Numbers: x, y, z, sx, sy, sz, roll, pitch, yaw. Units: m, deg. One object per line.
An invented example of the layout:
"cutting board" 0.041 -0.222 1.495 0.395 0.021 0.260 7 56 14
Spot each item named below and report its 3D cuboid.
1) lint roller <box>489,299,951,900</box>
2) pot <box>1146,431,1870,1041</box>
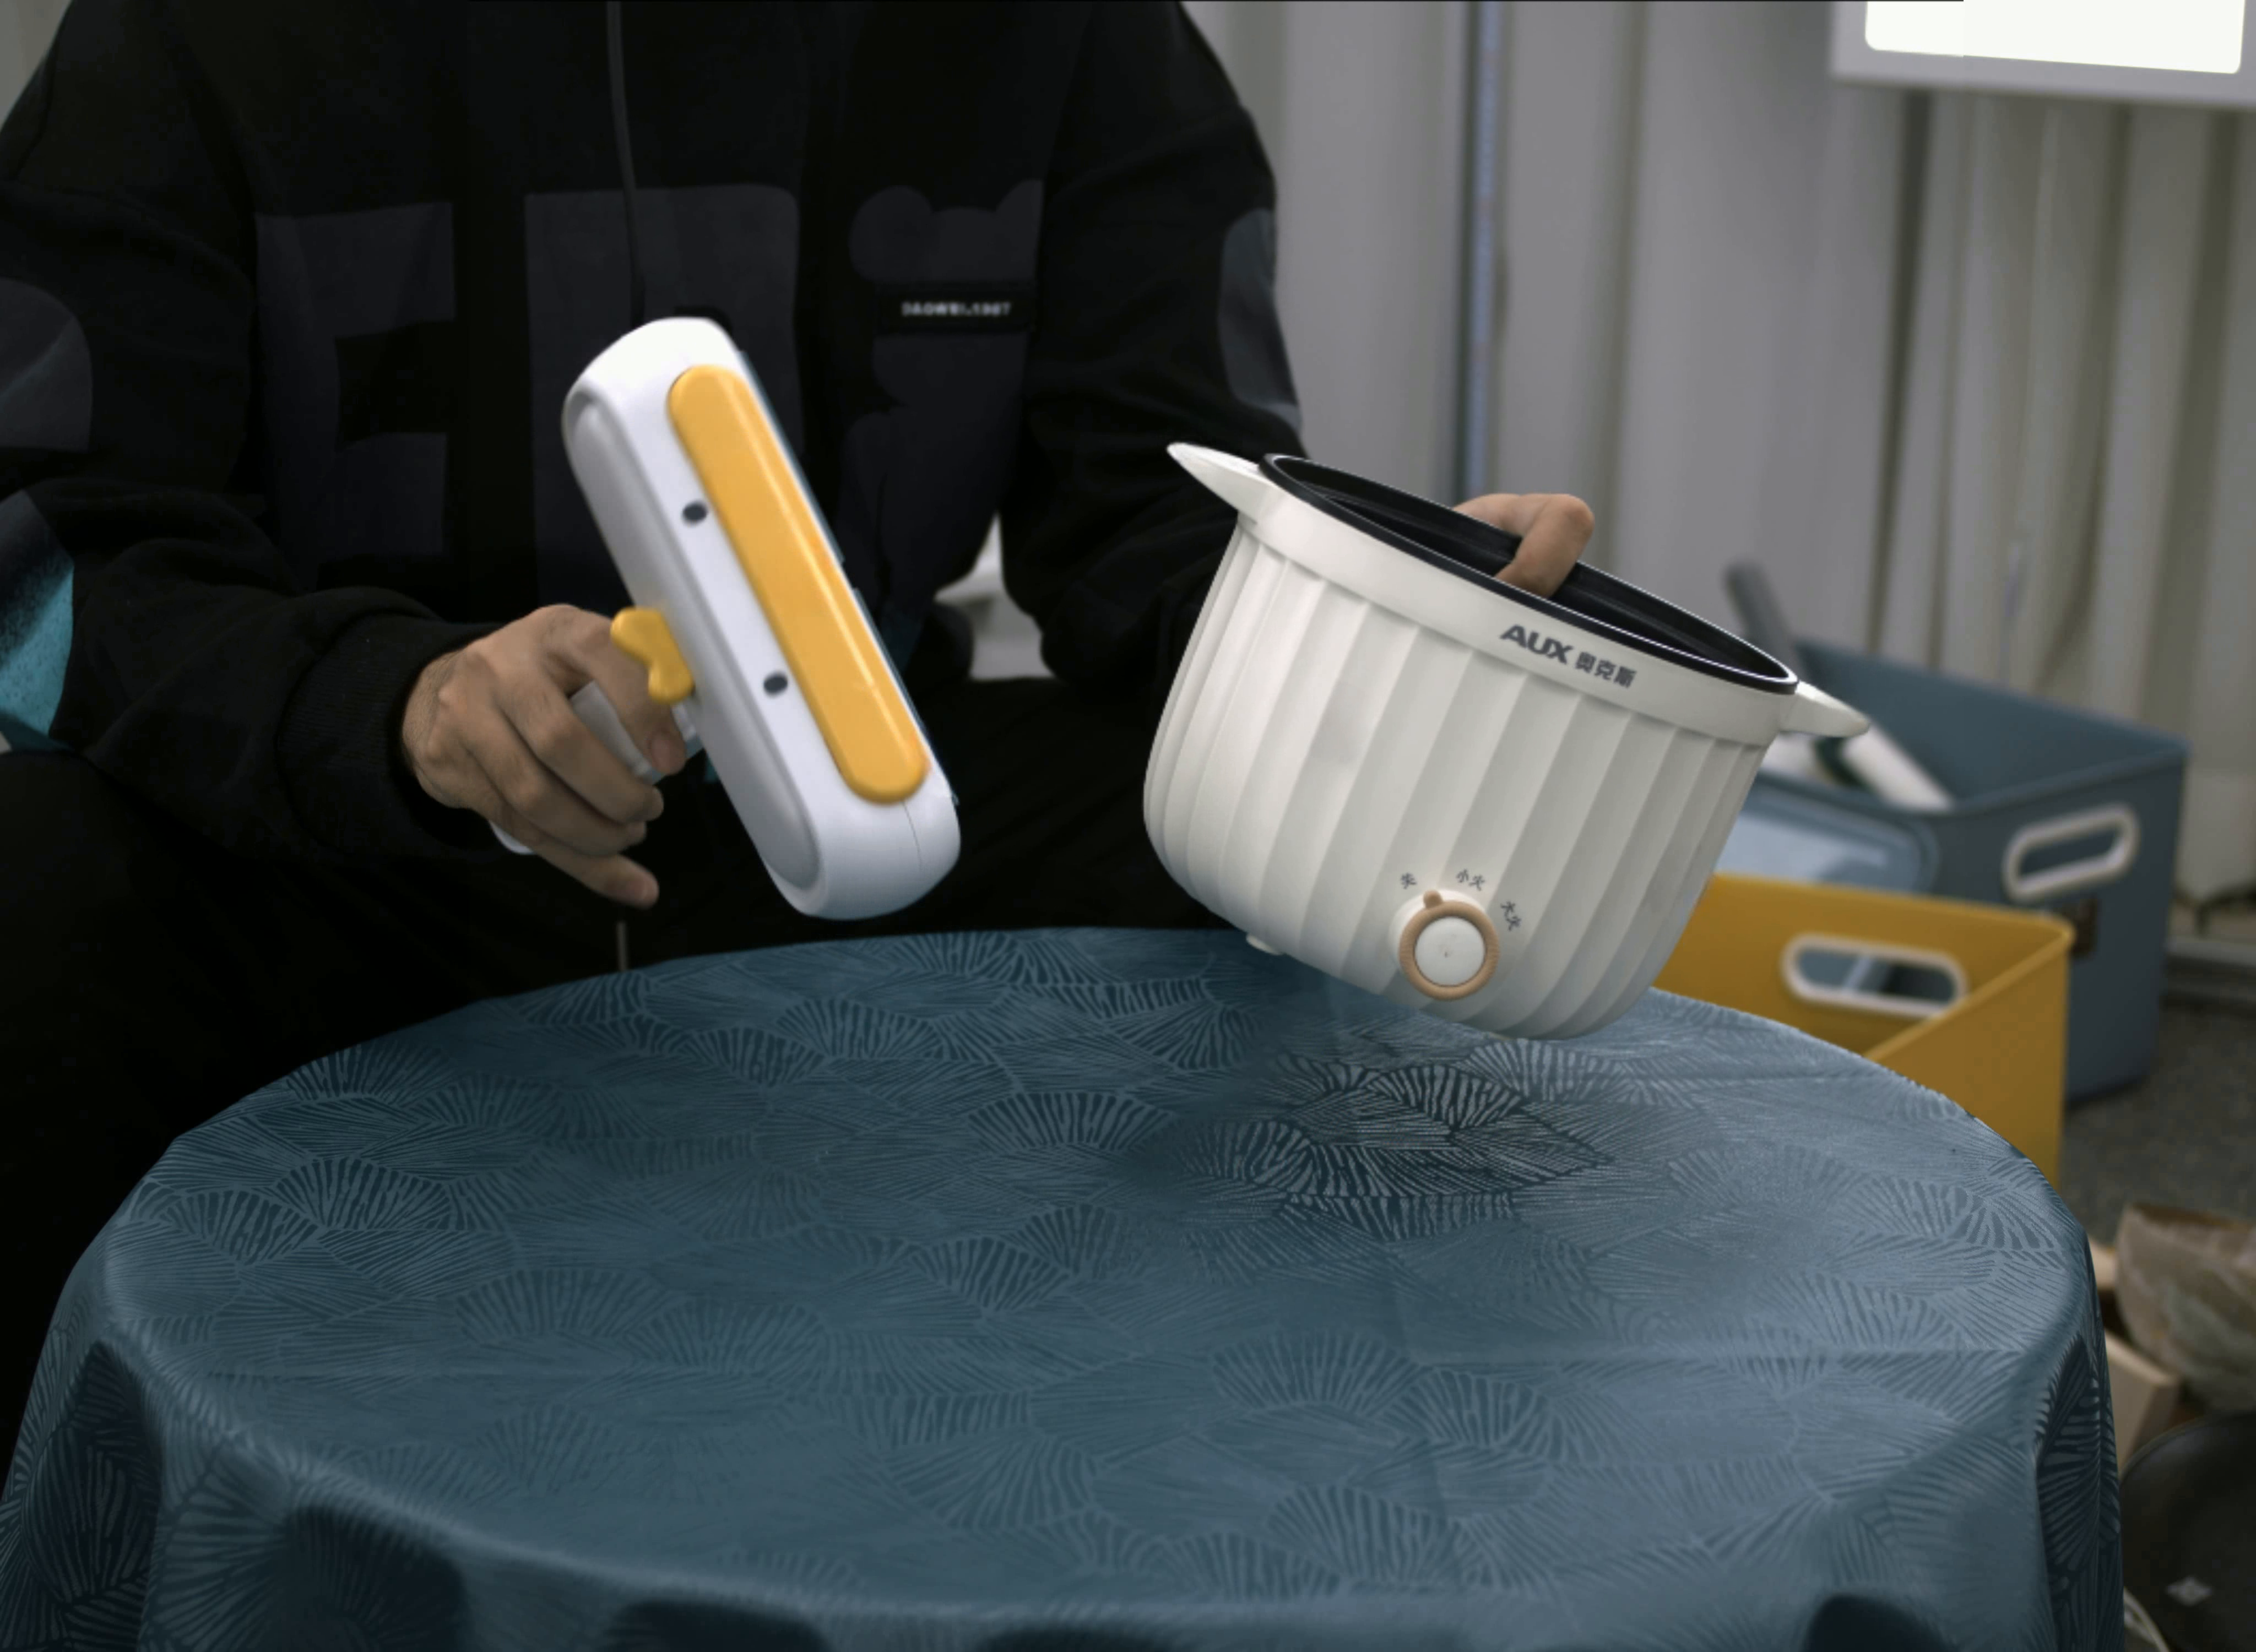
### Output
"lint roller" -0.143 -0.043 1.625 0.074 0.192 0.192 -29 -7 -31
"pot" 0.102 -0.019 1.634 0.241 0.143 0.189 20 6 -11
